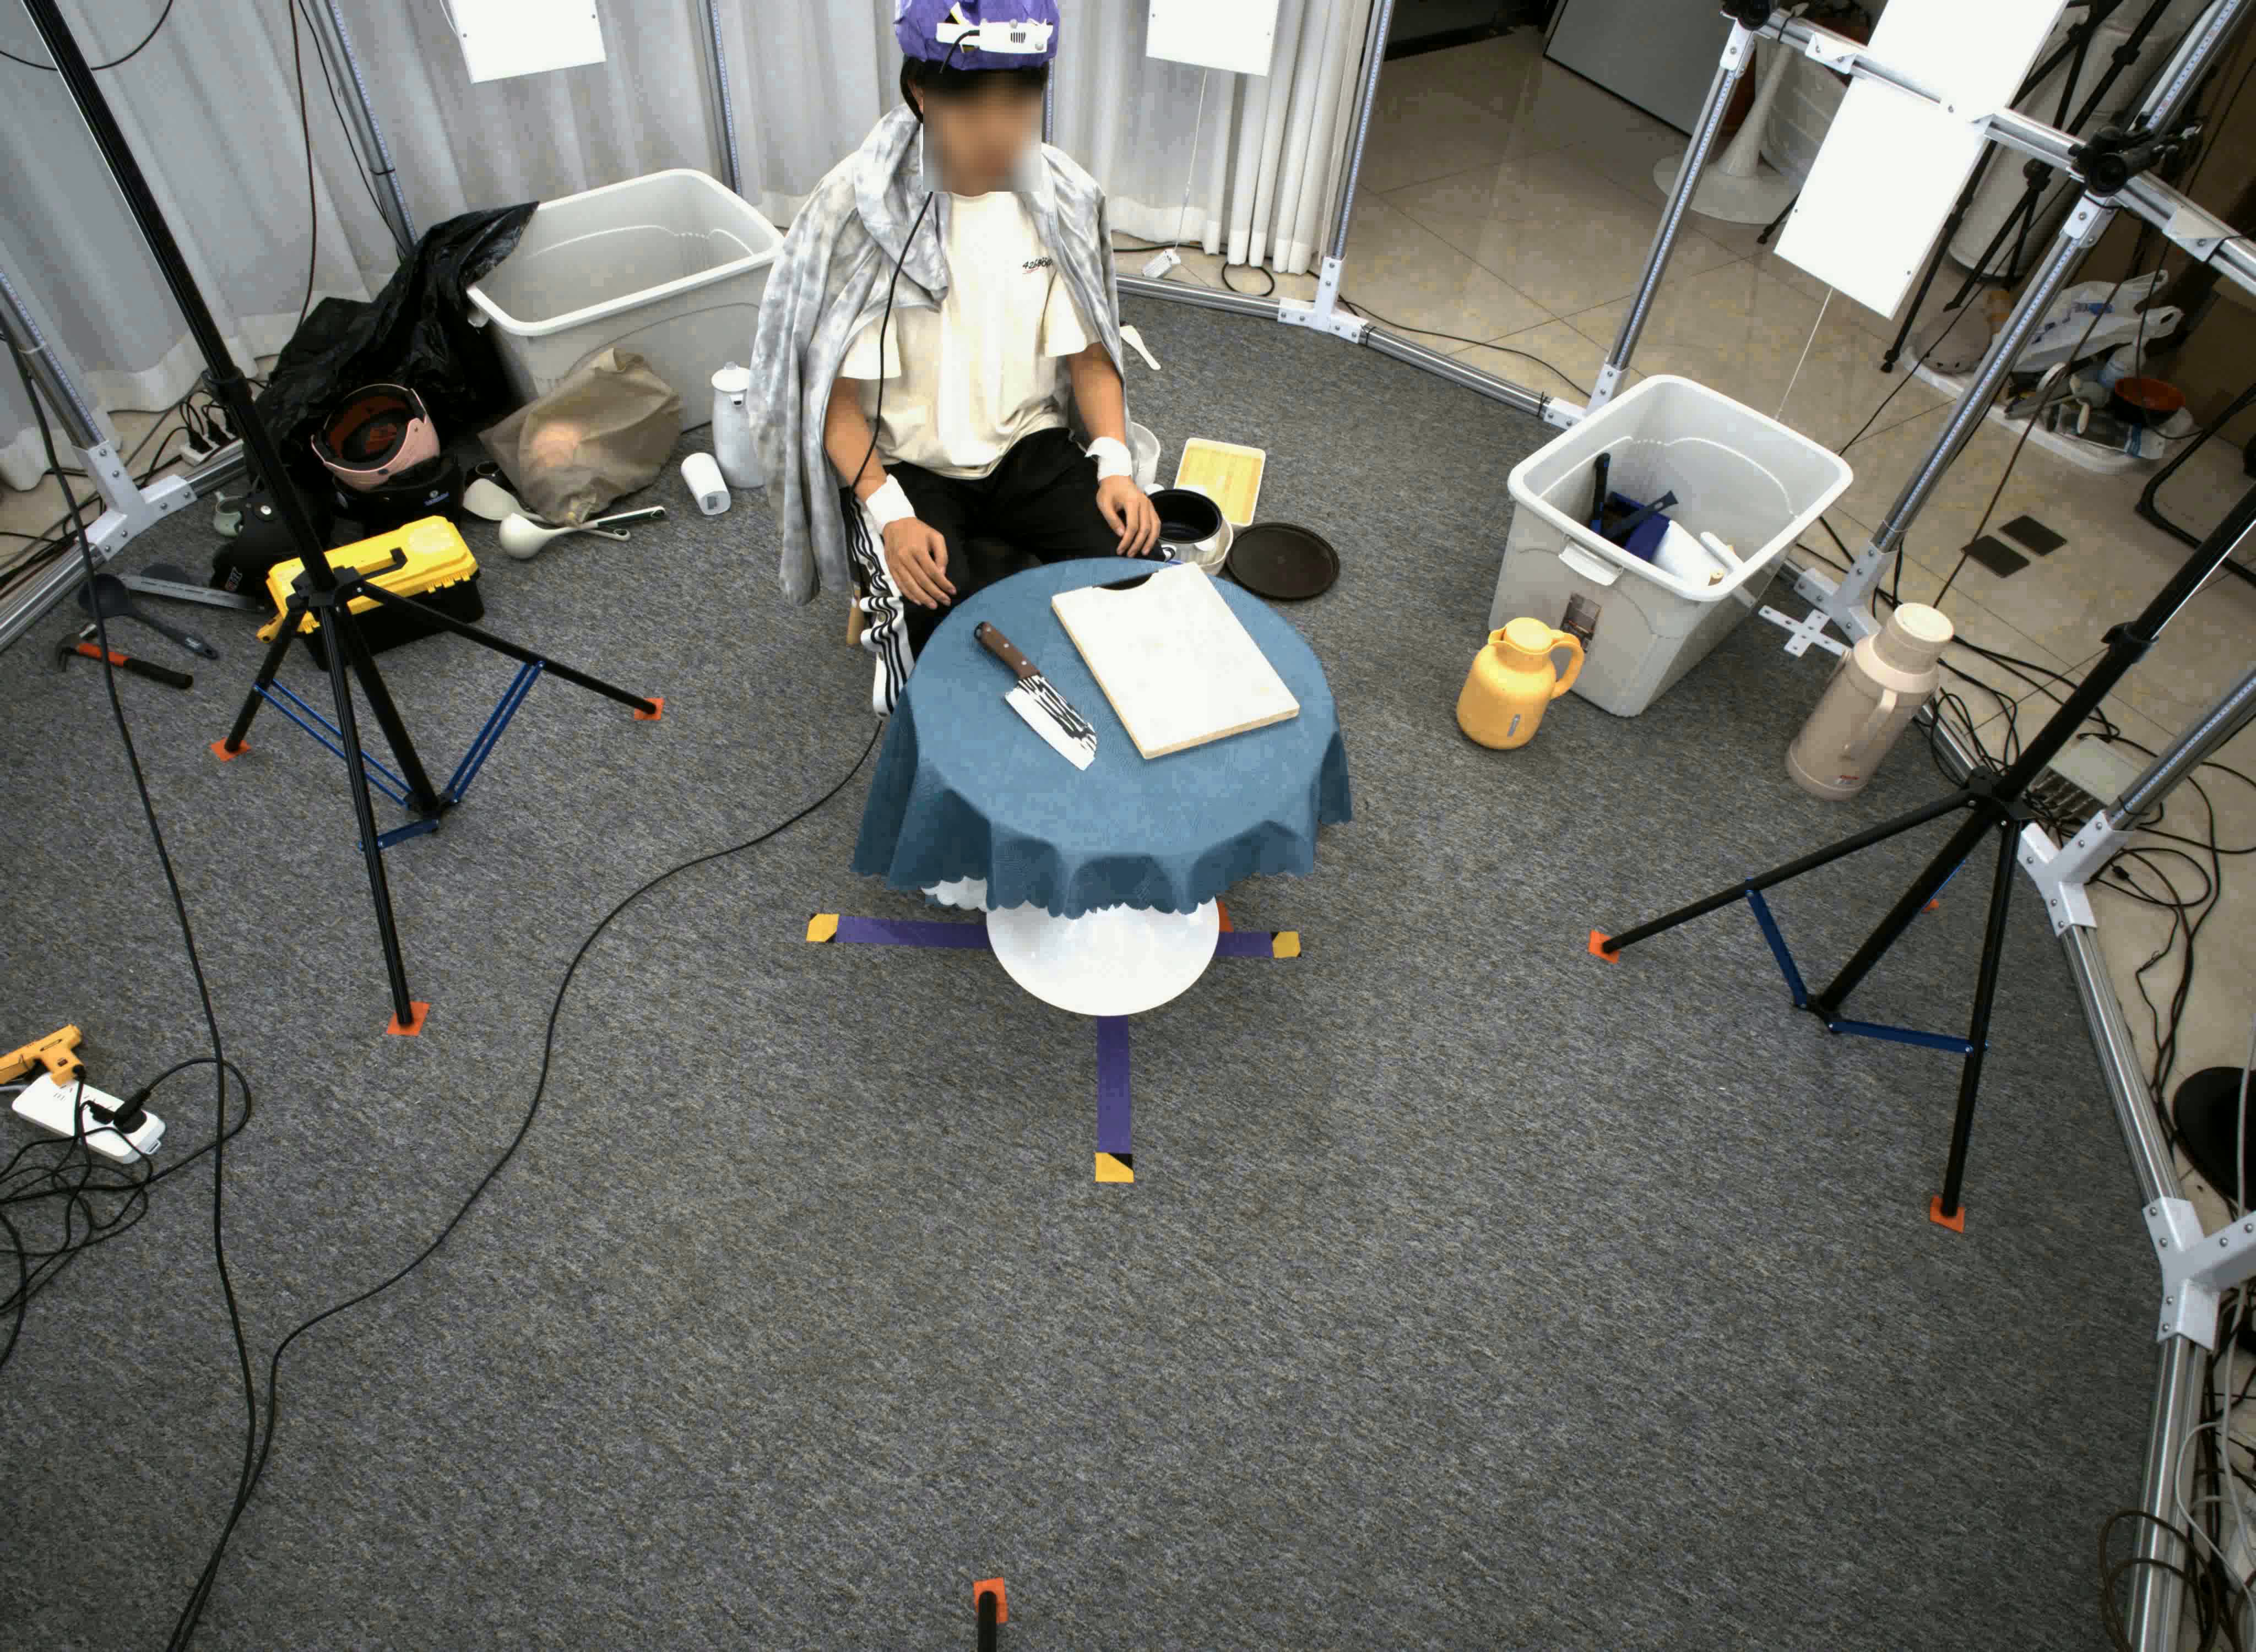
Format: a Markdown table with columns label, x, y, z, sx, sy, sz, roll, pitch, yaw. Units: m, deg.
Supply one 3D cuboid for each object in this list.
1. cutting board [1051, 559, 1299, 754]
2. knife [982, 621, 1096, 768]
| label | x | y | z | sx | sy | sz | roll | pitch | yaw |
| --- | --- | --- | --- | --- | --- | --- | --- | --- | --- |
| cutting board | 0.063 | -0.255 | 1.877 | 0.251 | 0.023 | 0.356 | -17 | 52 | -18 |
| knife | -0.134 | -0.187 | 1.801 | 0.068 | 0.023 | 0.305 | -29 | 59 | -24 |
